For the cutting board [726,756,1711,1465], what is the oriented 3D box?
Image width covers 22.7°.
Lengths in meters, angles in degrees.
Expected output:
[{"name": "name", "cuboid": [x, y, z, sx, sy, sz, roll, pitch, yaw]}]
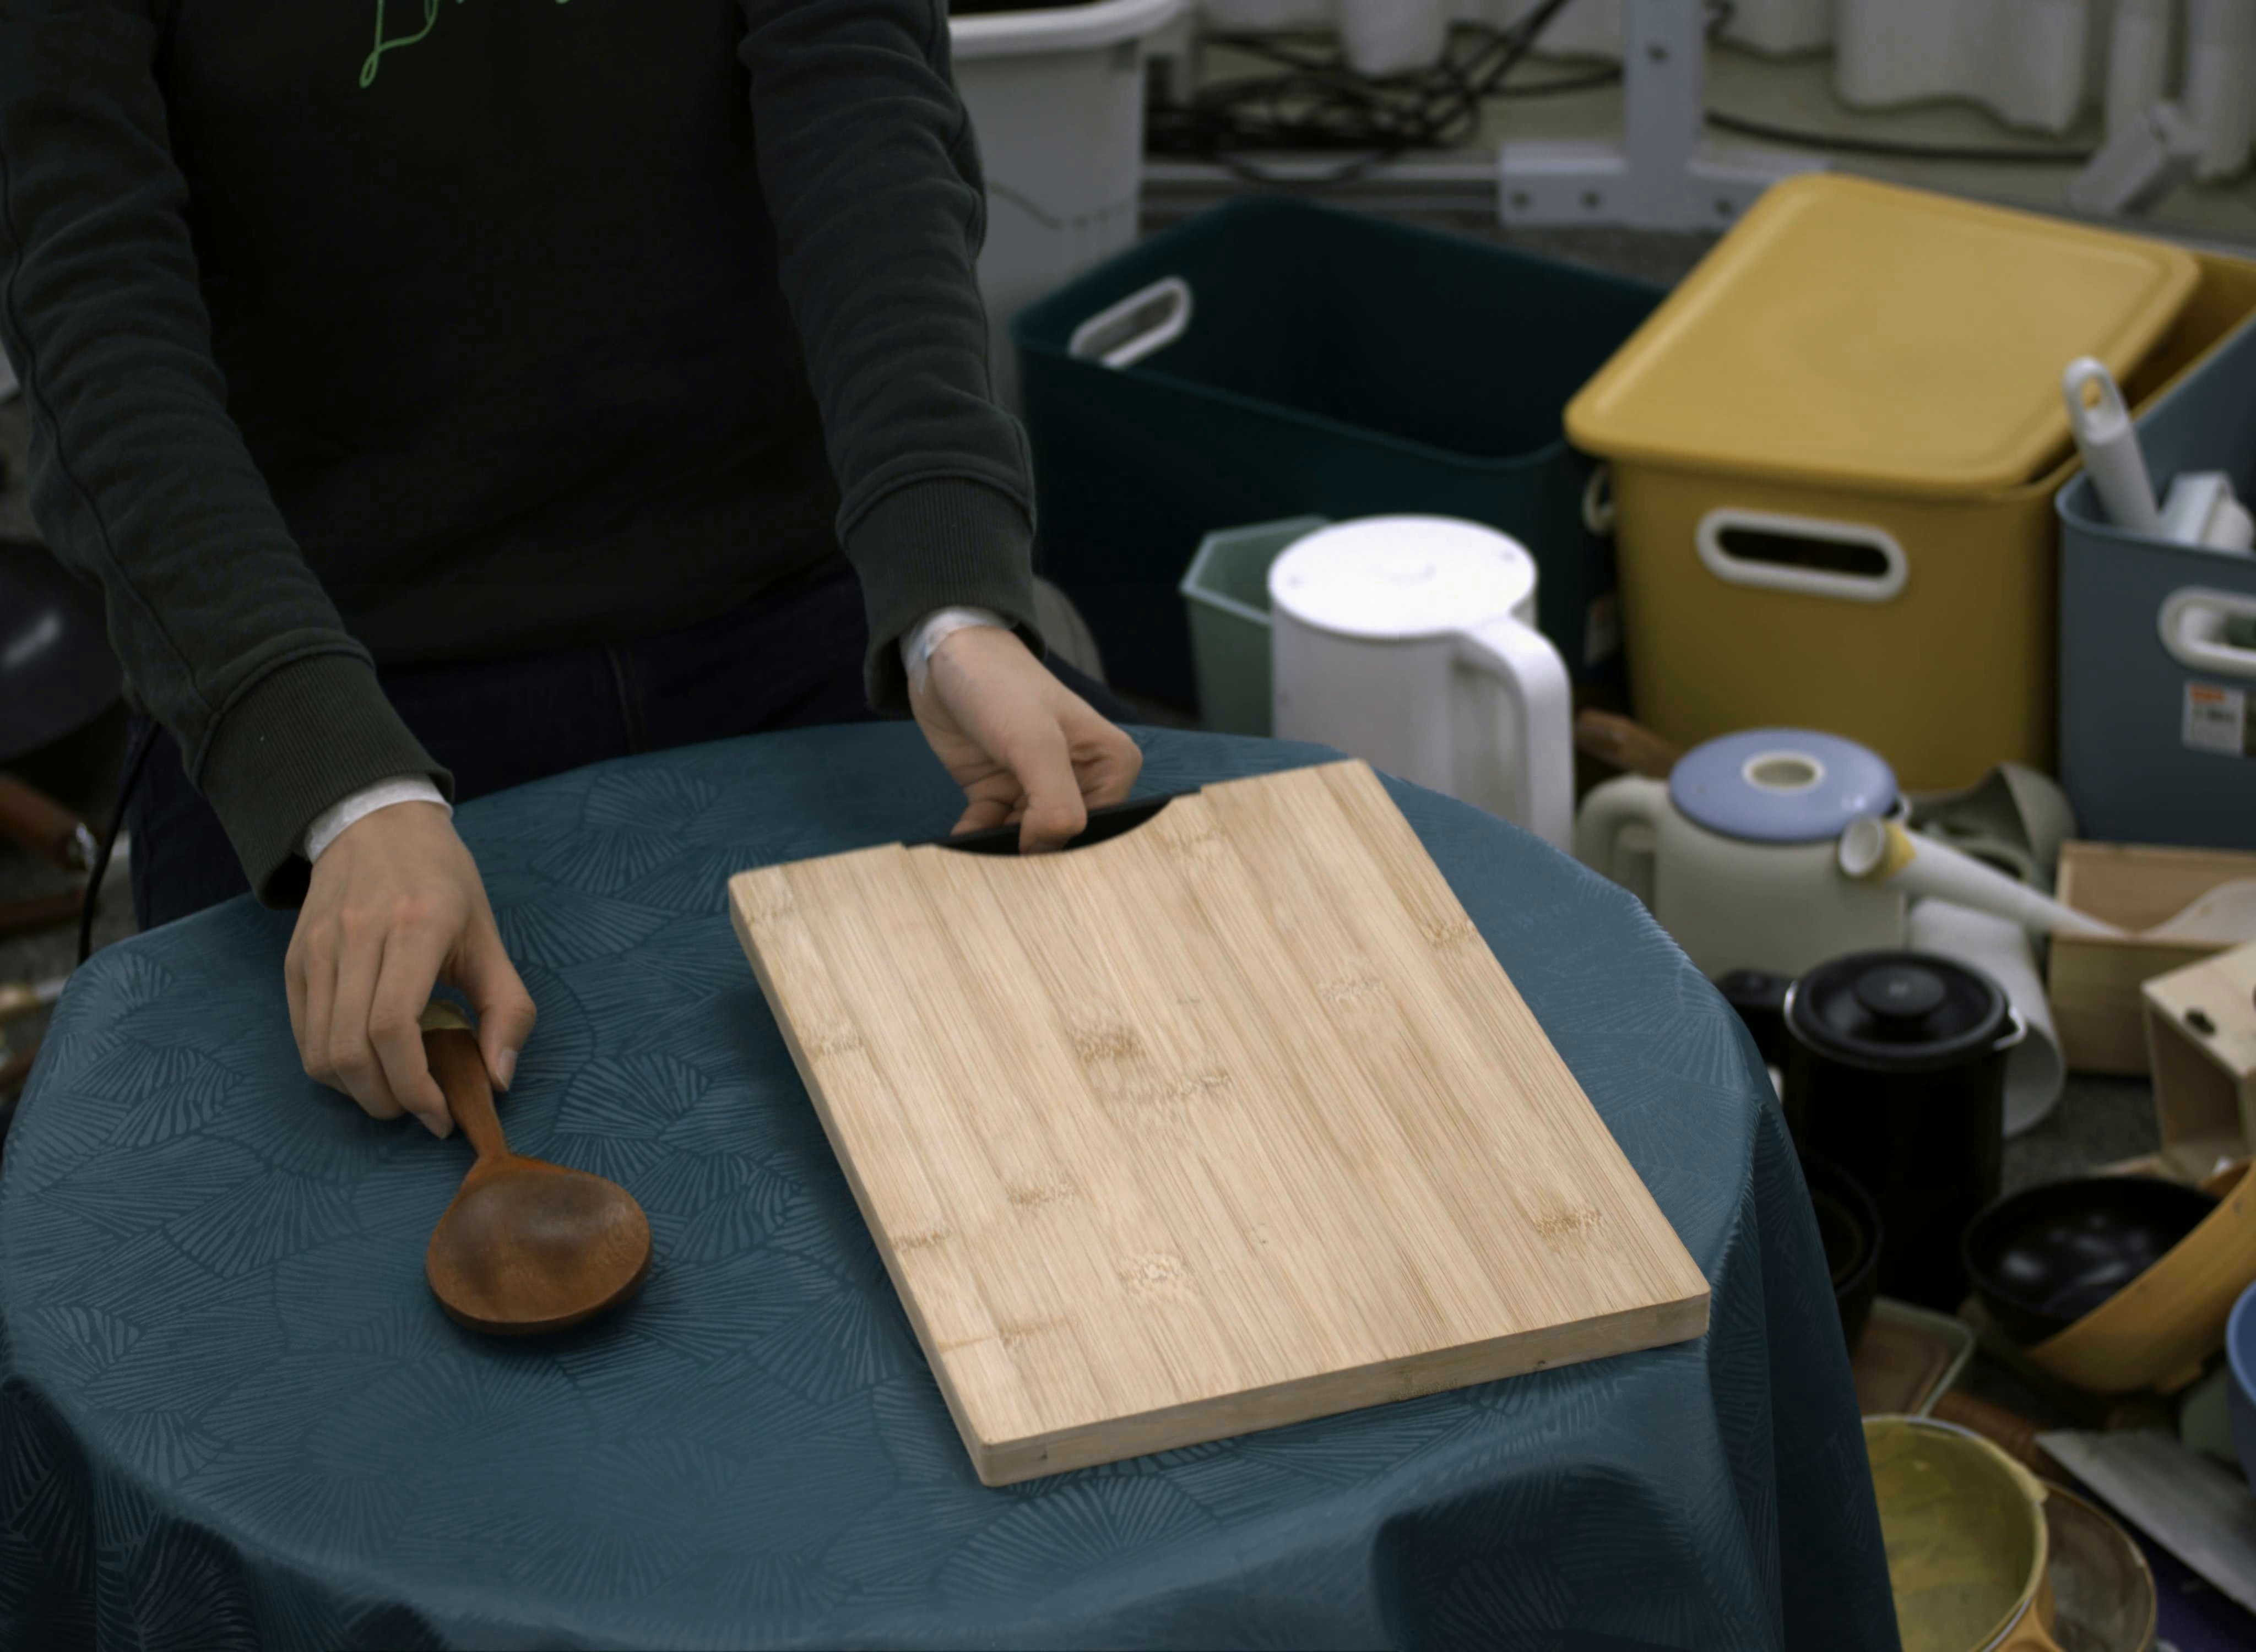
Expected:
[{"name": "cutting board", "cuboid": [0.020, 0.088, 1.882, 0.251, 0.023, 0.352, -10, 32, -15]}]

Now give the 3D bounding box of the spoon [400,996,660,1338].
[{"name": "spoon", "cuboid": [-0.209, 0.113, 1.873, 0.075, 0.017, 0.218, -18, 32, -11]}]
